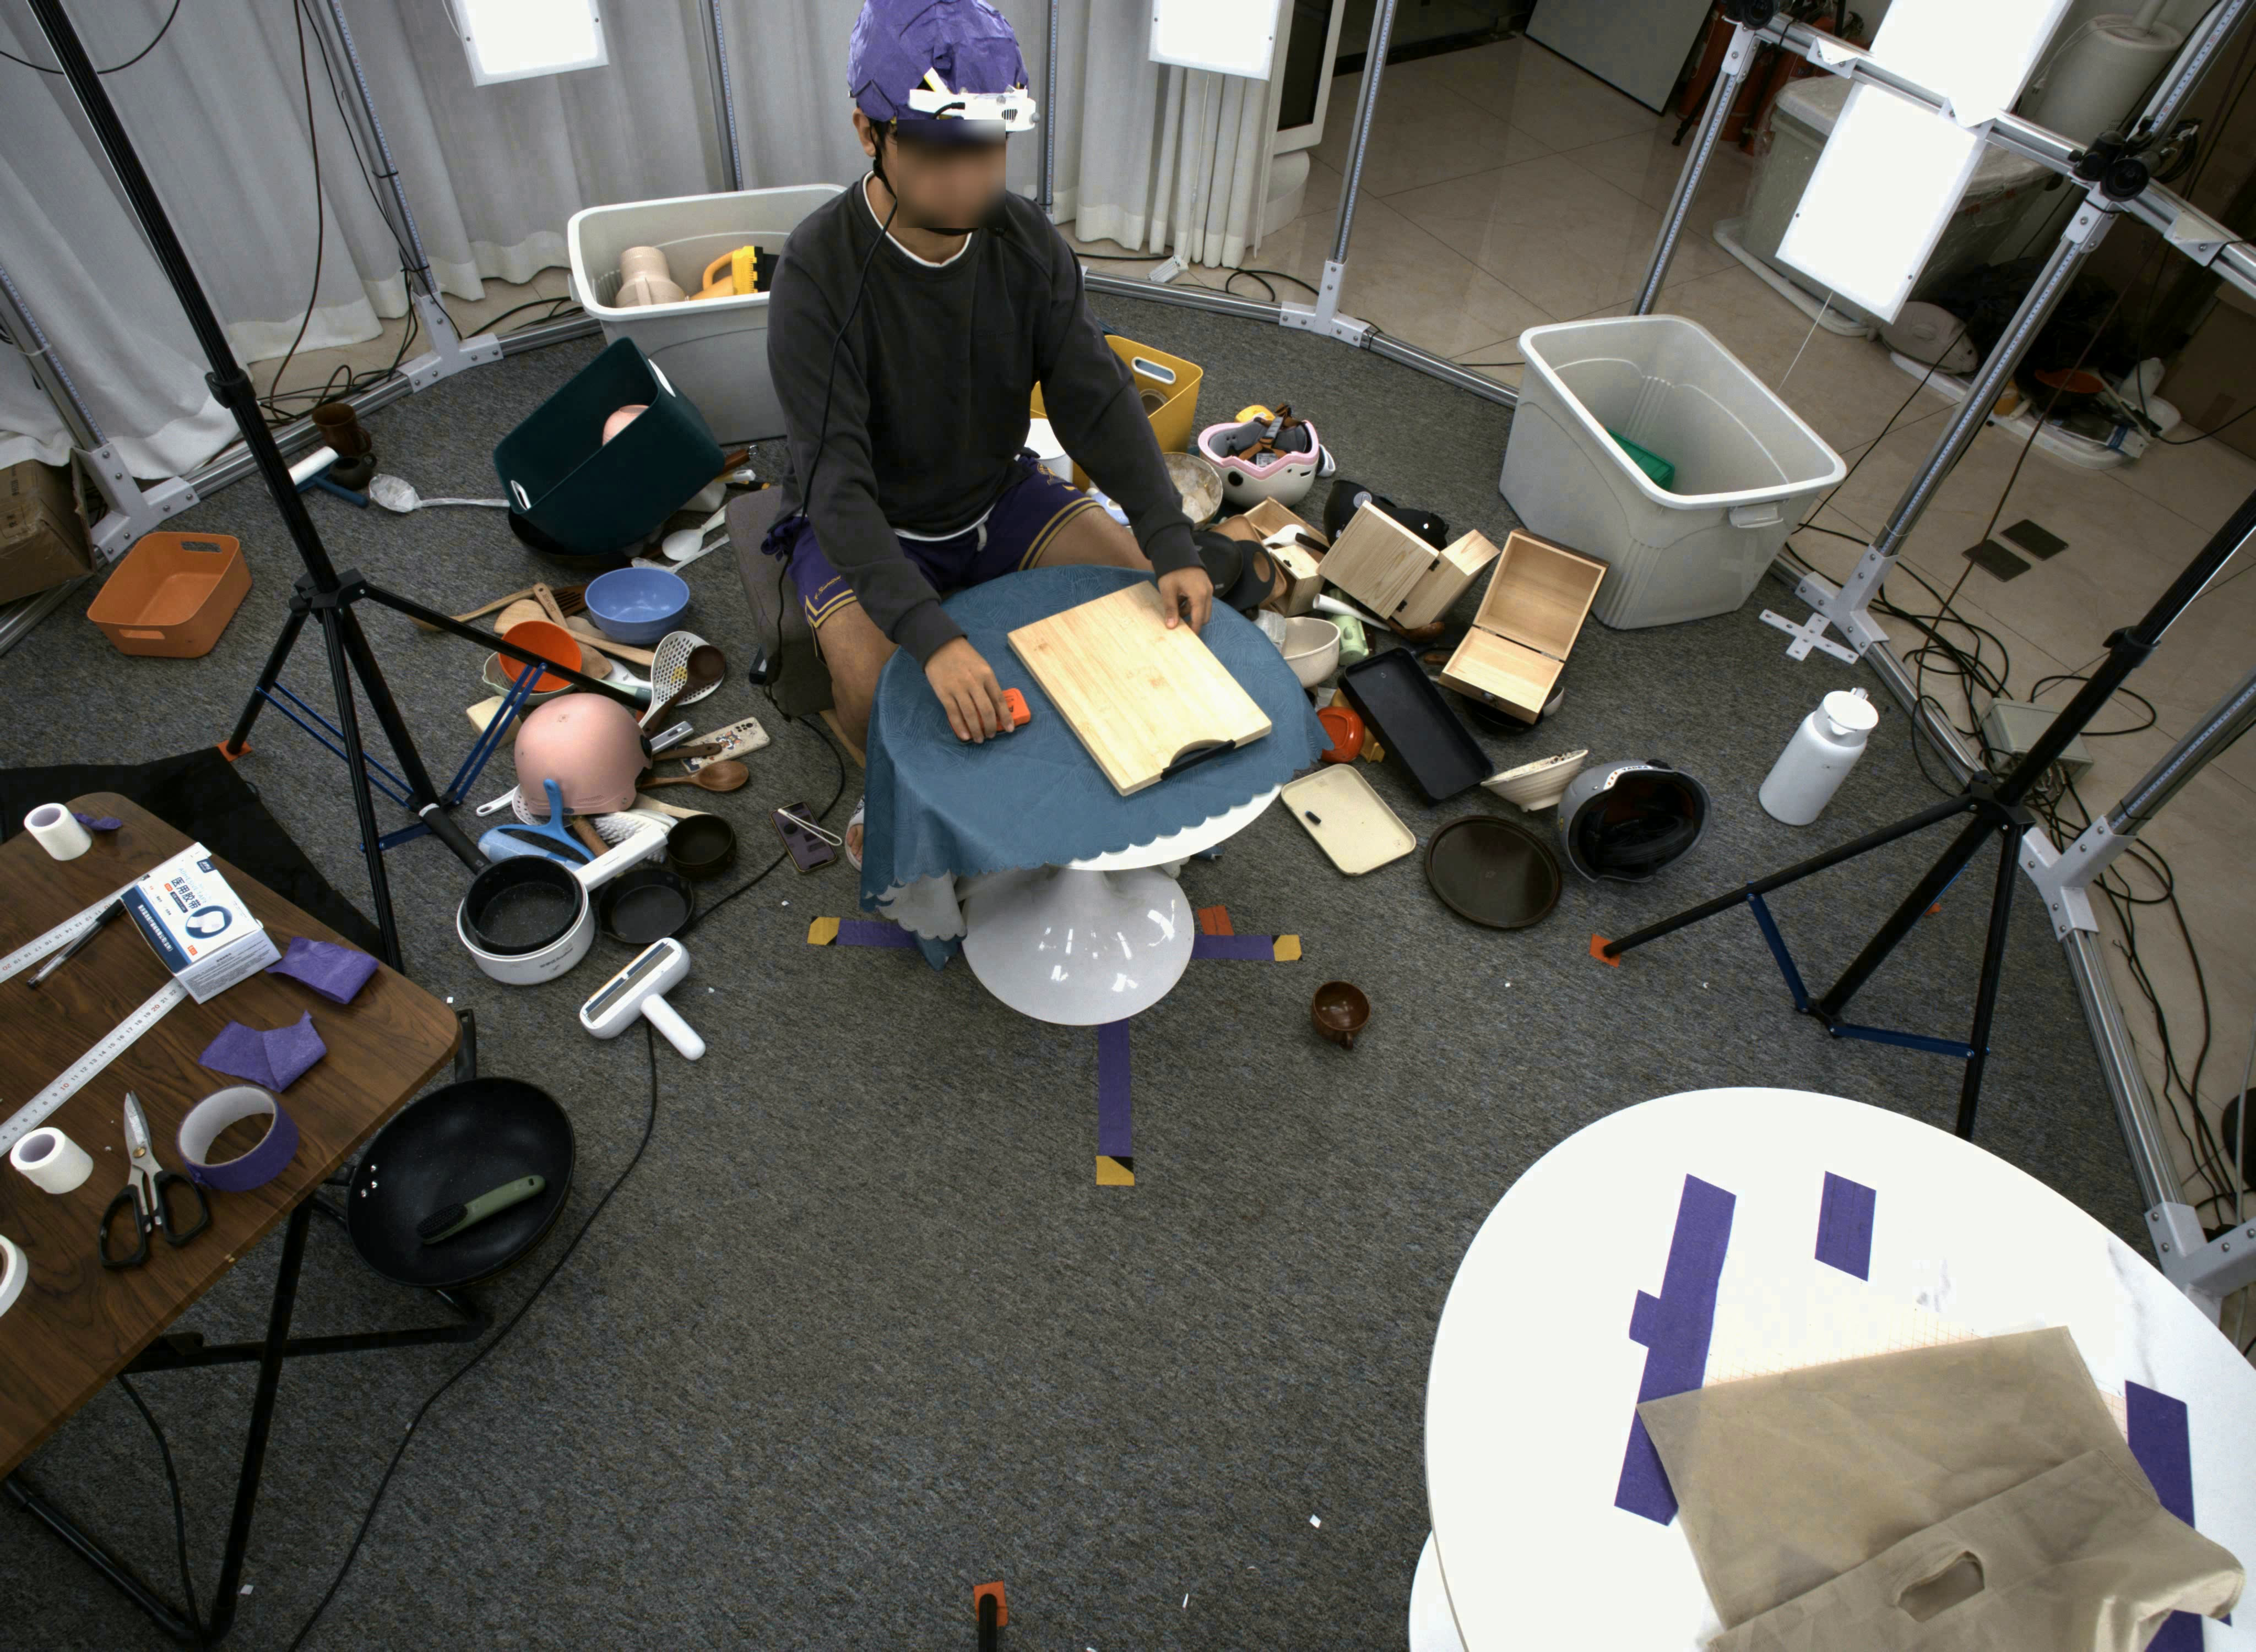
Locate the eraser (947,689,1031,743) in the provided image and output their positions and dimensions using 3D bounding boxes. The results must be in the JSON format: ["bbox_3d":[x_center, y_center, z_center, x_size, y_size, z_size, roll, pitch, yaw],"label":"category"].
[{"bbox_3d":[-0.192,-0.153,1.770,0.108,0.022,0.060,-17,52,-18],"label":"eraser"}]

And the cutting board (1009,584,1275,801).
[{"bbox_3d":[0.014,-0.201,1.823,0.251,0.023,0.356,-24,54,-19],"label":"cutting board"}]
